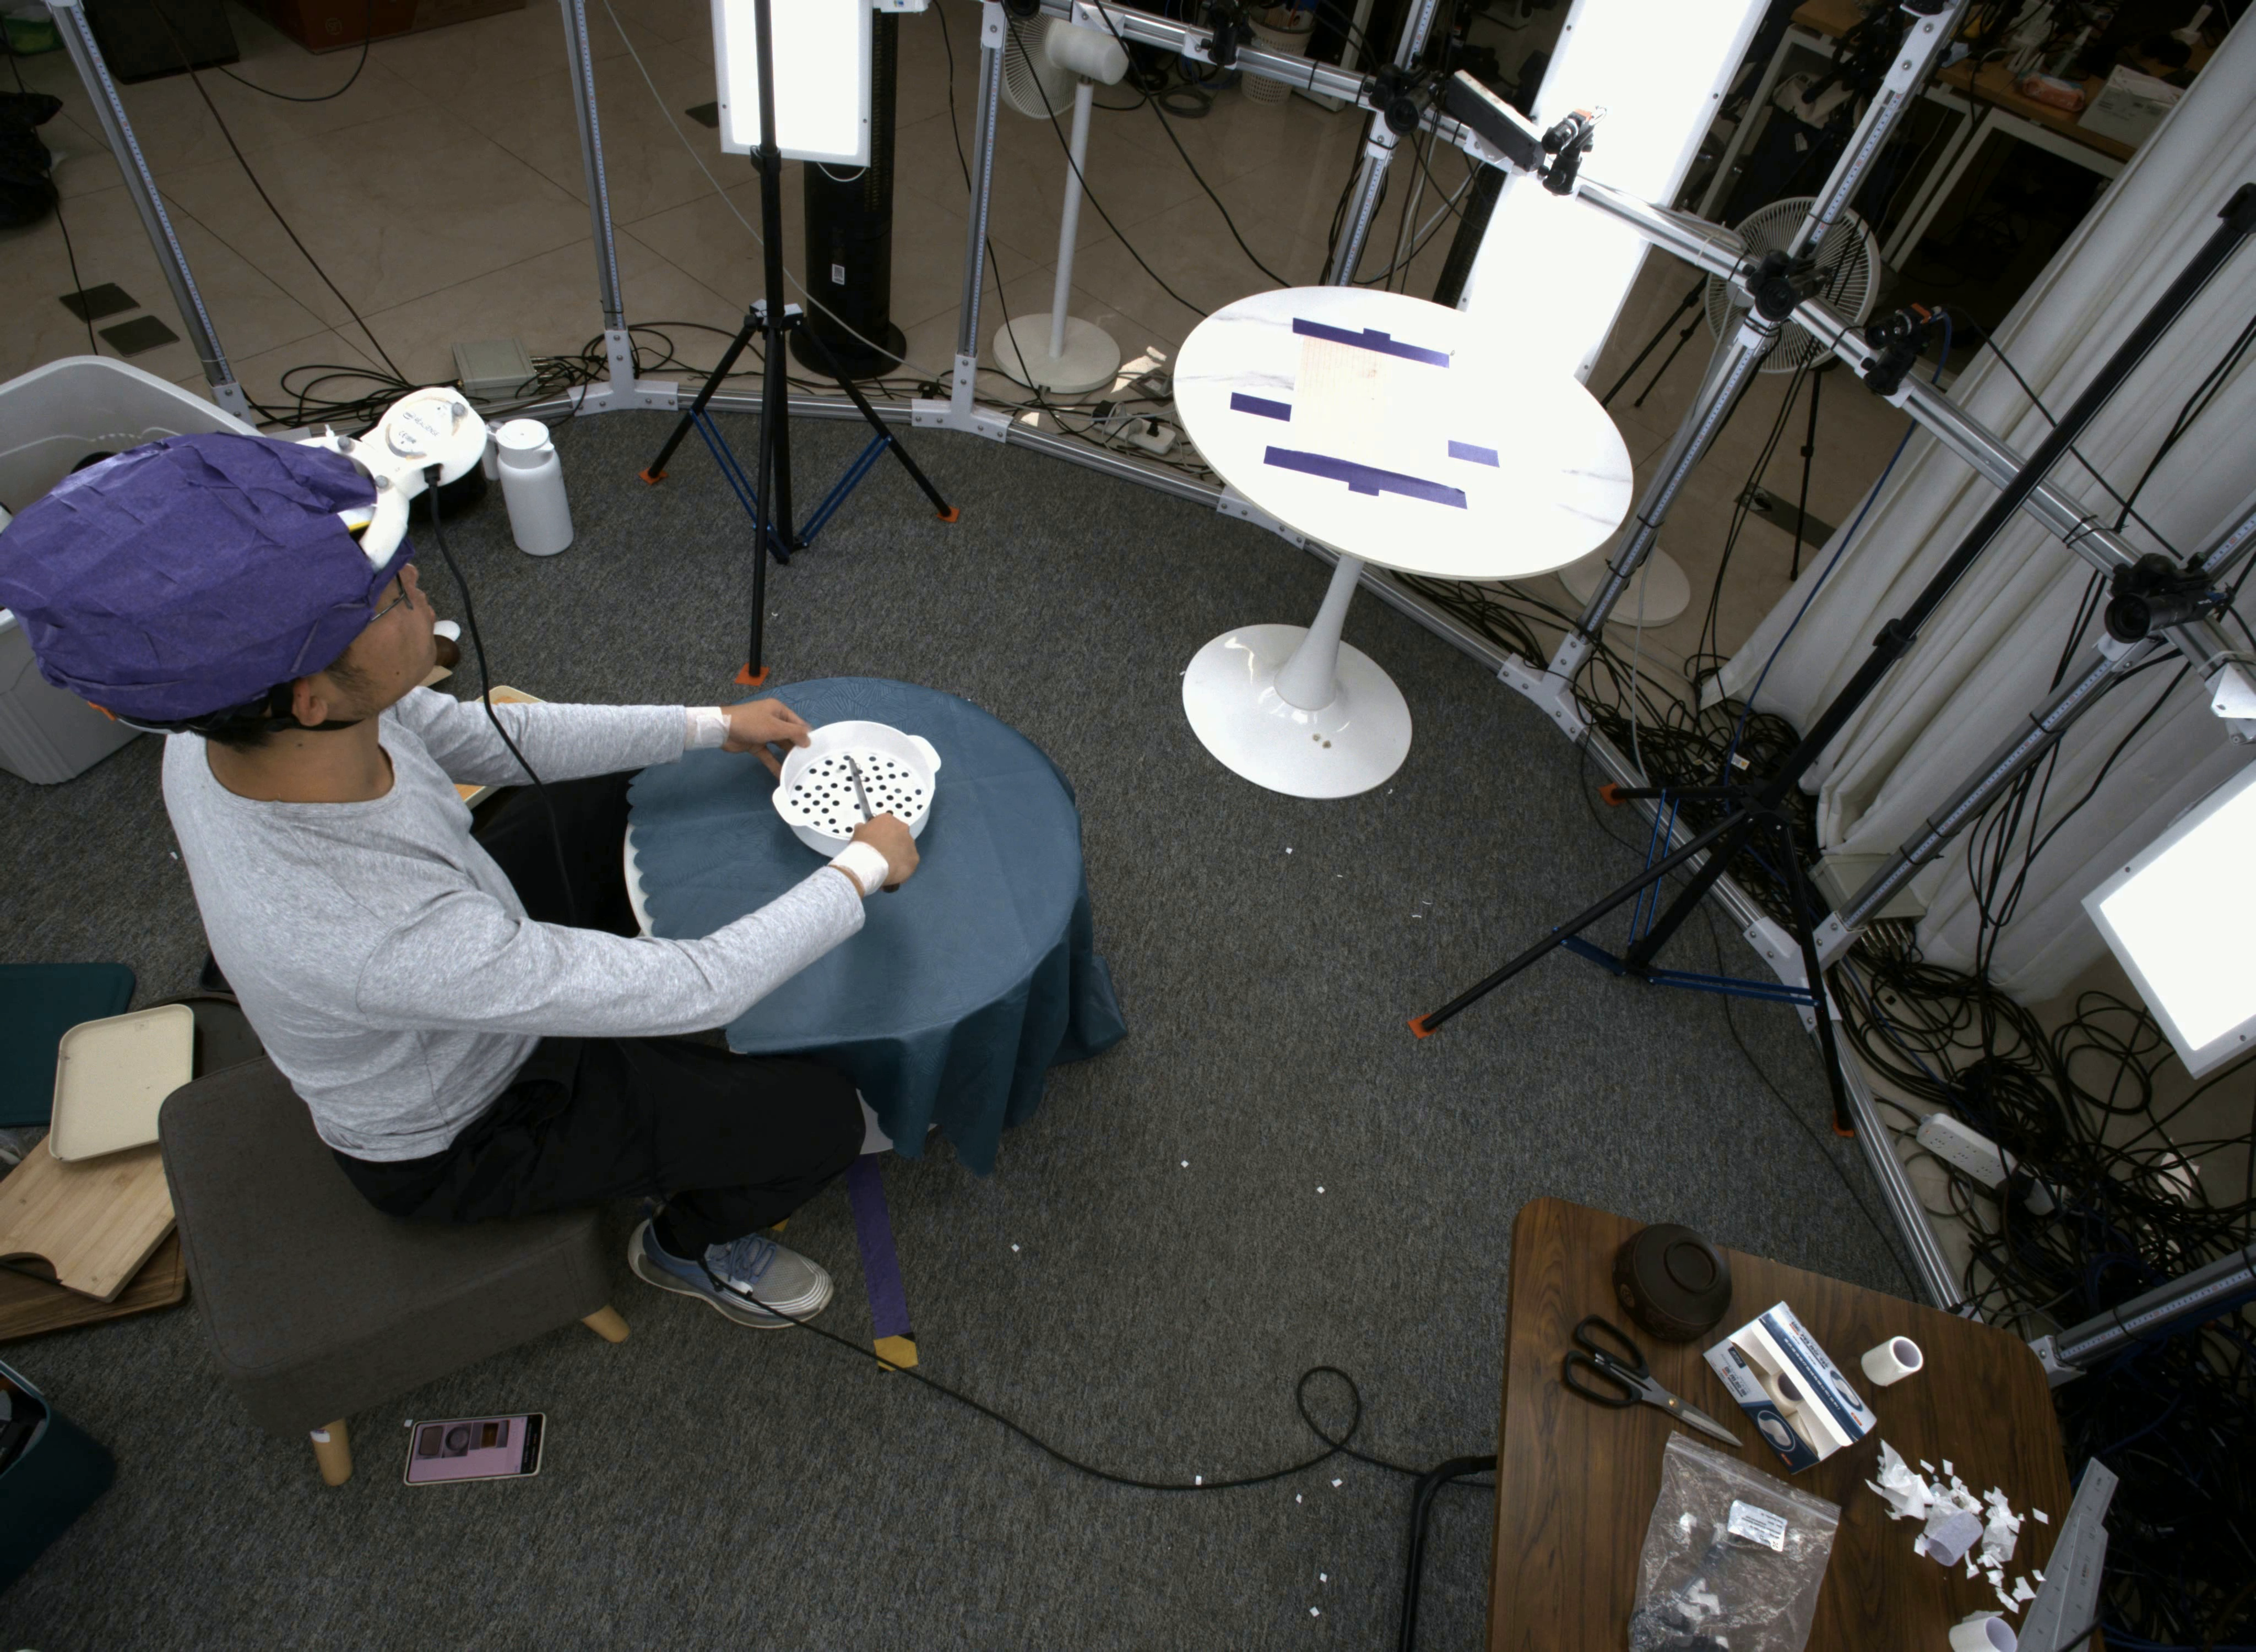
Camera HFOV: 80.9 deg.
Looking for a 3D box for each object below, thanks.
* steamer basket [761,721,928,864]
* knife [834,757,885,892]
[{"bbox_3d":[-0.376,-0.045,1.737,0.231,0.070,0.197,-27,64,-28],"label":"steamer basket"},{"bbox_3d":[-0.347,-0.008,1.645,0.020,0.052,0.279,-8,38,-21],"label":"knife"}]
